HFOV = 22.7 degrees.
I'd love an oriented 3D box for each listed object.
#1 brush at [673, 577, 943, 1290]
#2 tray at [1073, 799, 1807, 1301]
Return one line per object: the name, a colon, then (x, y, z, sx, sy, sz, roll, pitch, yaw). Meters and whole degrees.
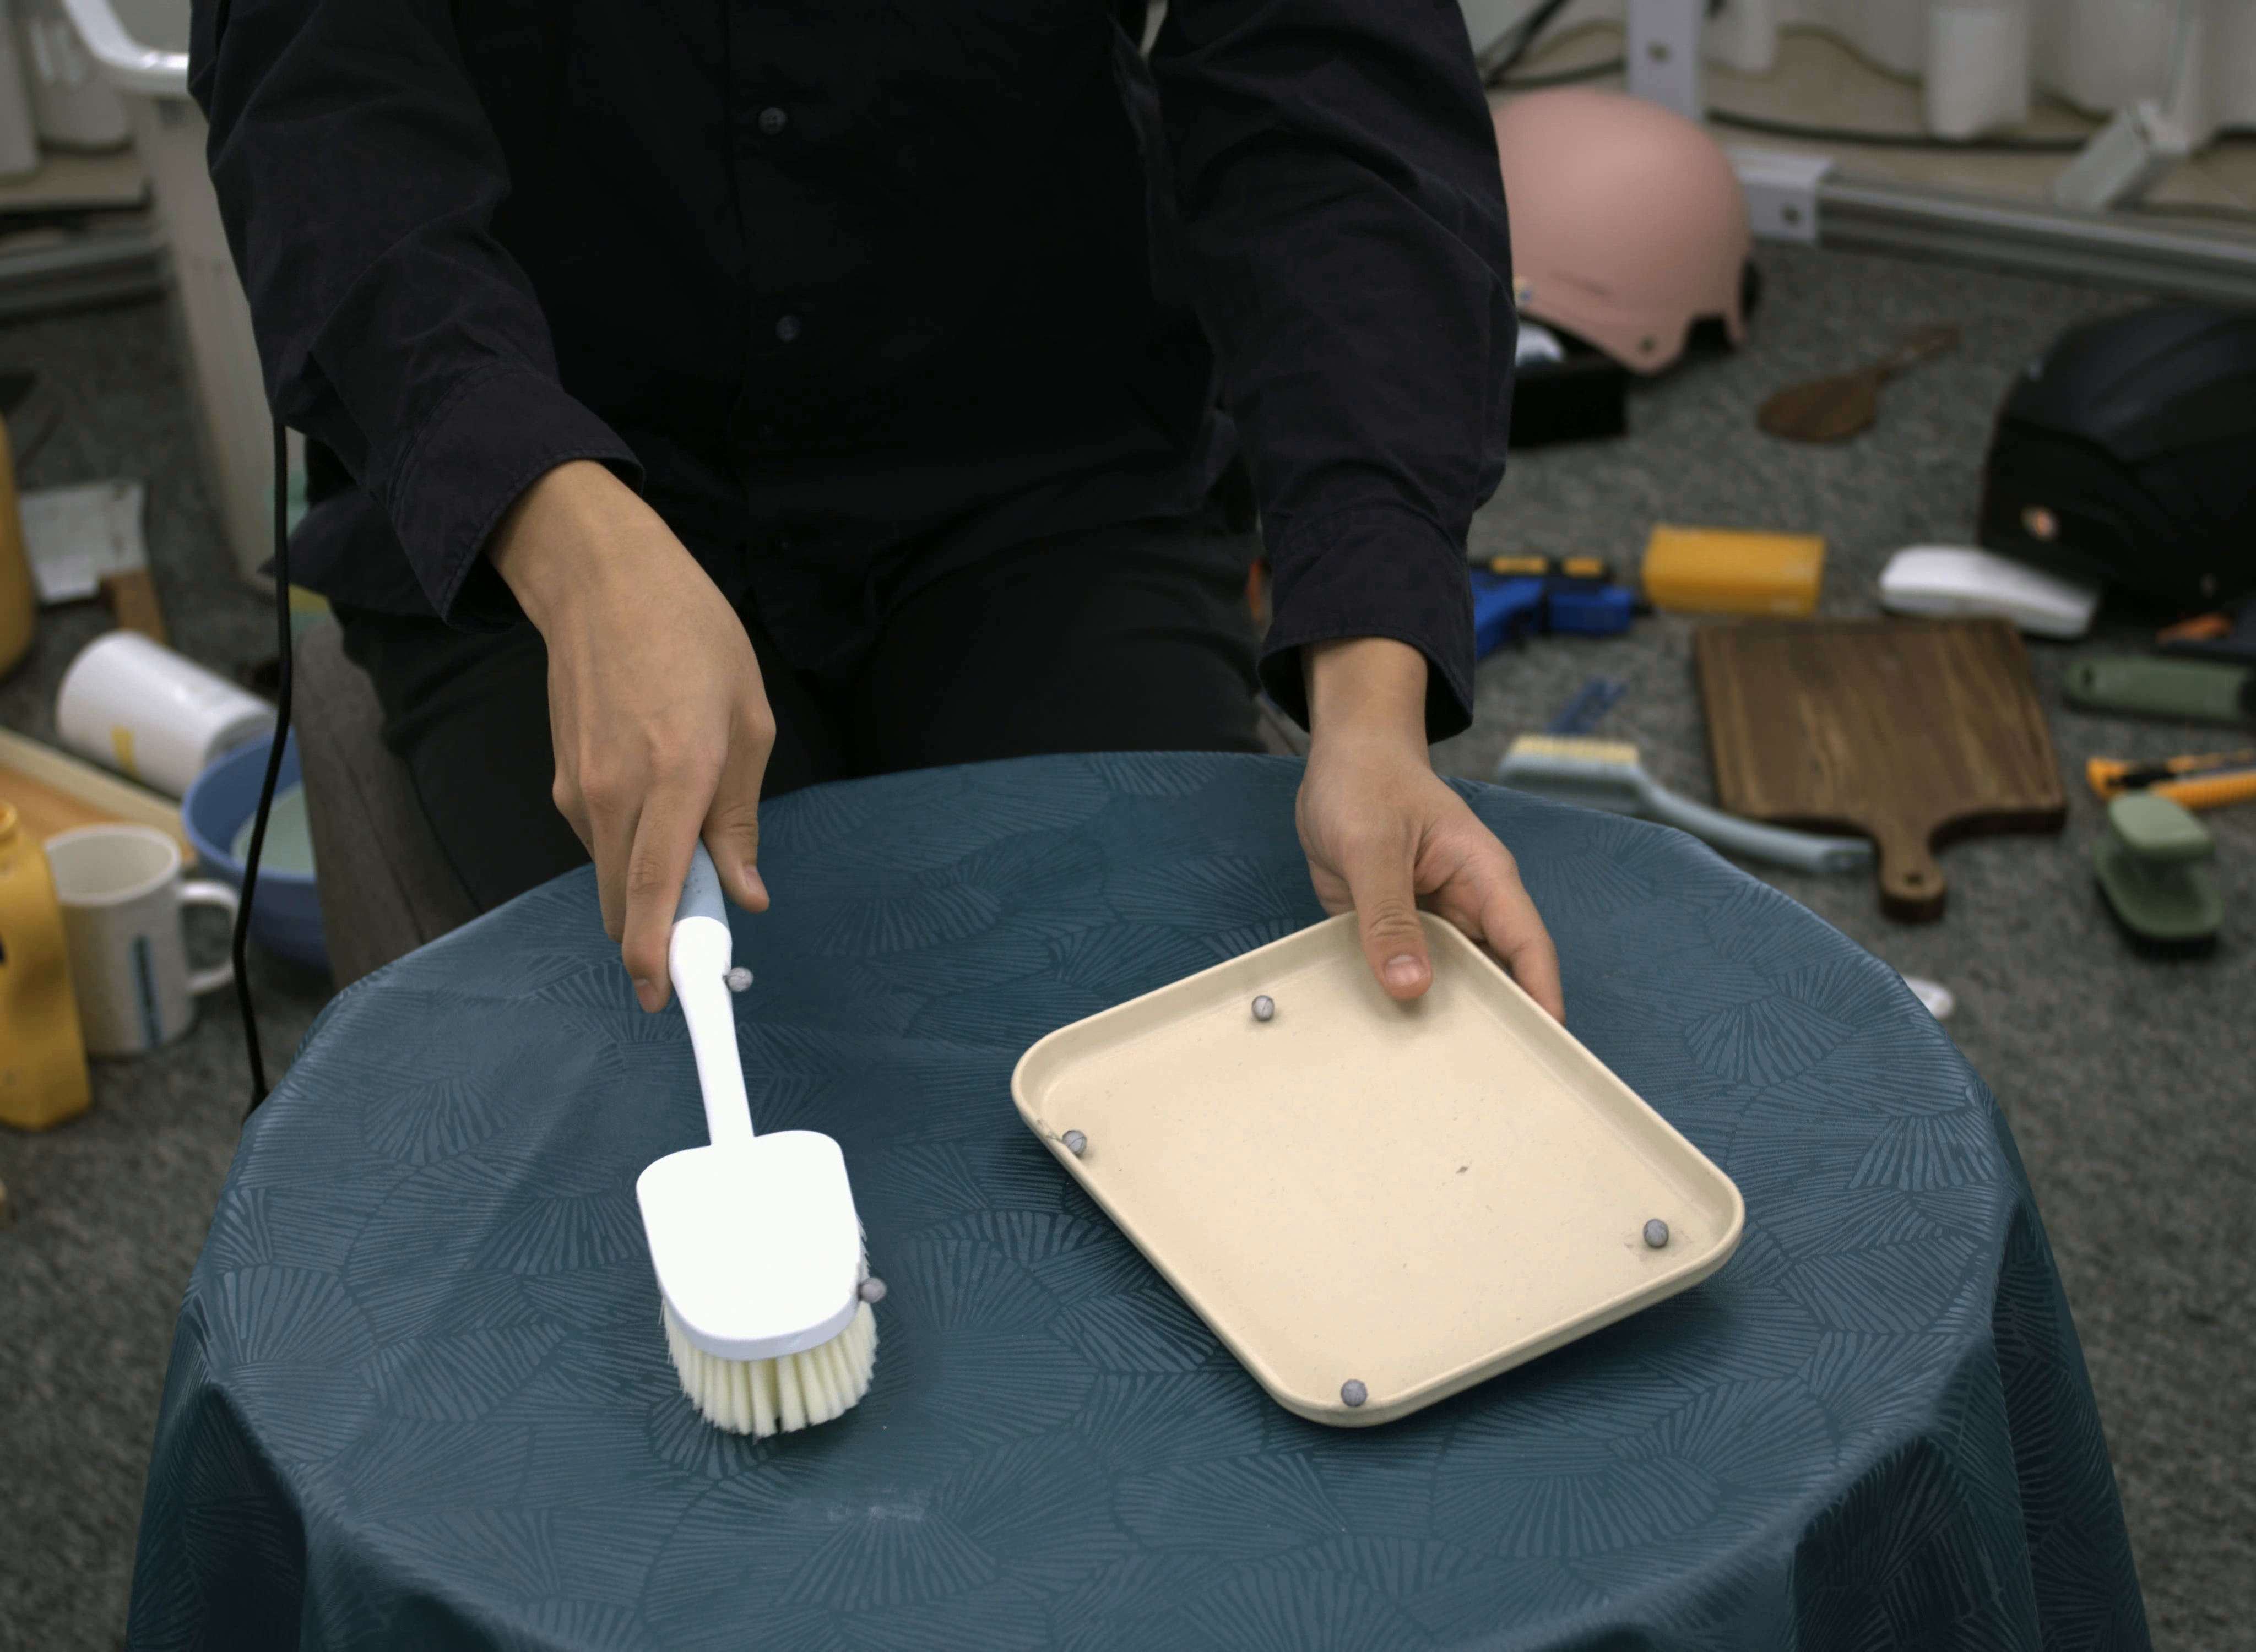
brush: (-0.111, 0.042, 1.874, 0.083, 0.083, 0.331, 21, 31, -28)
tray: (0.100, 0.072, 1.849, 0.172, 0.017, 0.241, -21, 35, -19)
